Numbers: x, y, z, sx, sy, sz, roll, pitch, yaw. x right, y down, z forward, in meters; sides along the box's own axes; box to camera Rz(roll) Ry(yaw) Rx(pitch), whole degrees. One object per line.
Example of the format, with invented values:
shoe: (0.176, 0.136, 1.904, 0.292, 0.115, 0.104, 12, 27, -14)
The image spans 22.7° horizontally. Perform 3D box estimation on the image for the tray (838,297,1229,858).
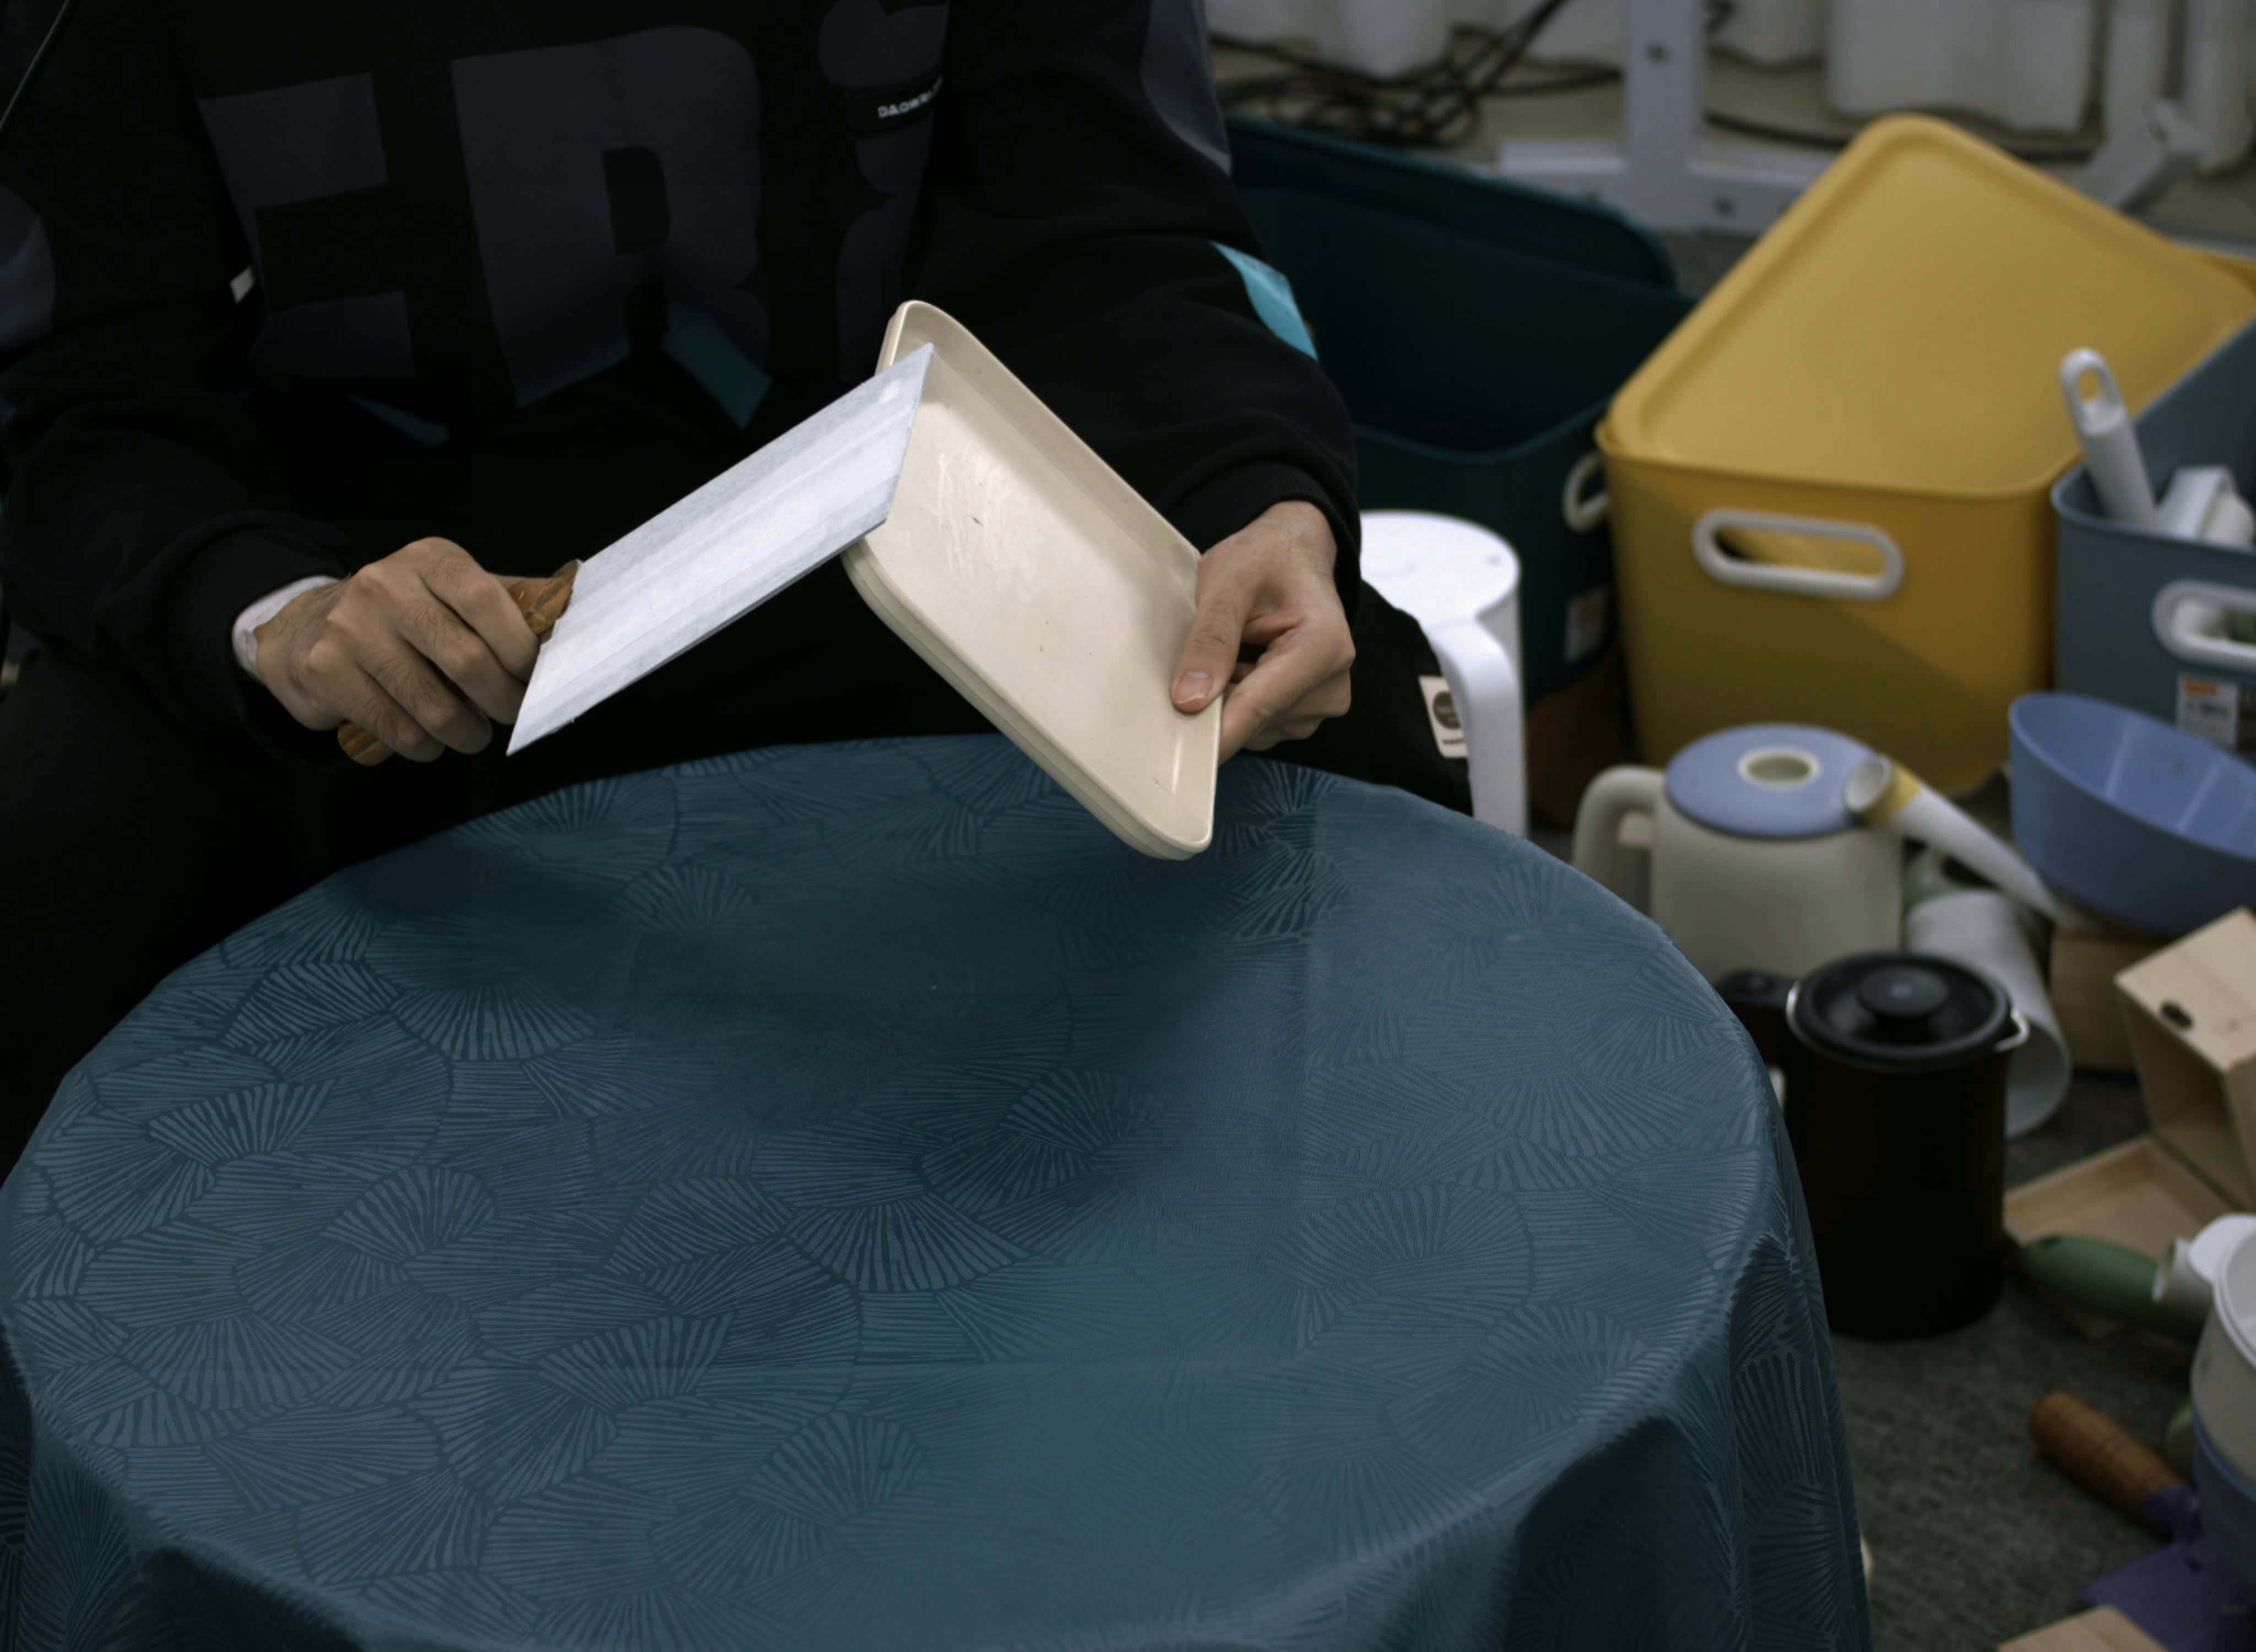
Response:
tray: (-0.032, -0.087, 1.951, 0.017, 0.170, 0.243, -41, 17, 20)

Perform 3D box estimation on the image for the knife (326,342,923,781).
knife: (-0.179, -0.071, 1.933, 0.301, 0.021, 0.095, -29, 34, 34)
